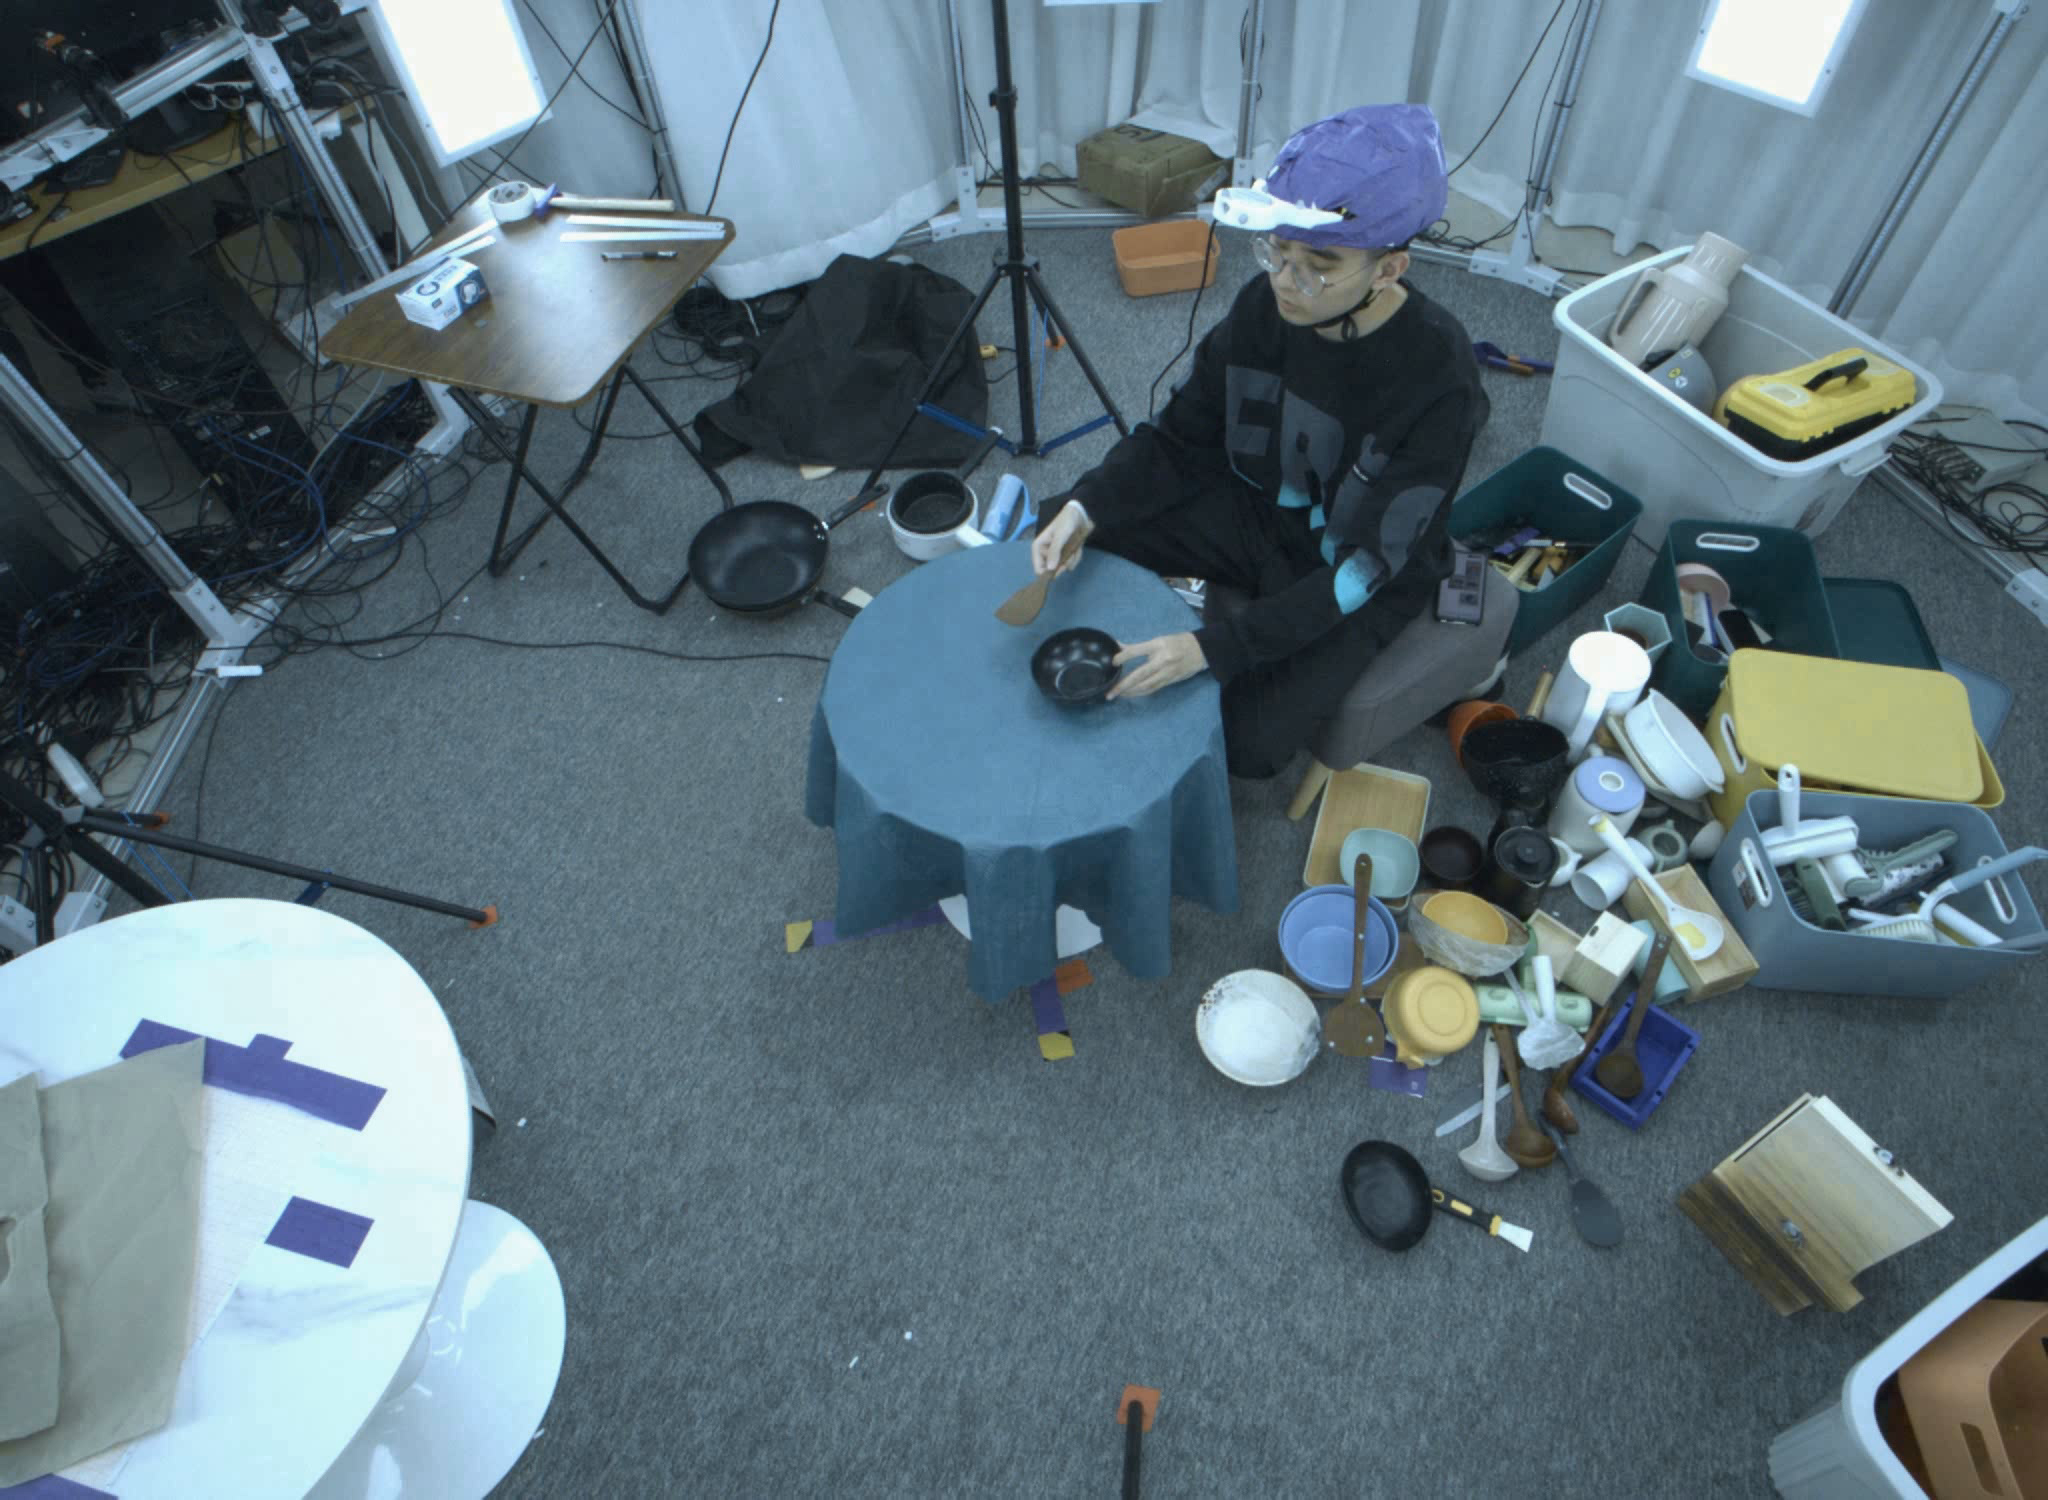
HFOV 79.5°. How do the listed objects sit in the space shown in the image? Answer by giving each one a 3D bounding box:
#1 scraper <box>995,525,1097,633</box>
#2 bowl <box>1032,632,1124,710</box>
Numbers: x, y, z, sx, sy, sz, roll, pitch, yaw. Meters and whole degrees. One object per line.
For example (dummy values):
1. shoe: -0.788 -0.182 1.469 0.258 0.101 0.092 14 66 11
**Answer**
1. scraper: 0.040 -0.263 1.874 0.074 0.011 0.211 30 77 40
2. bowl: 0.083 -0.109 1.835 0.139 0.050 0.138 -5 52 8
